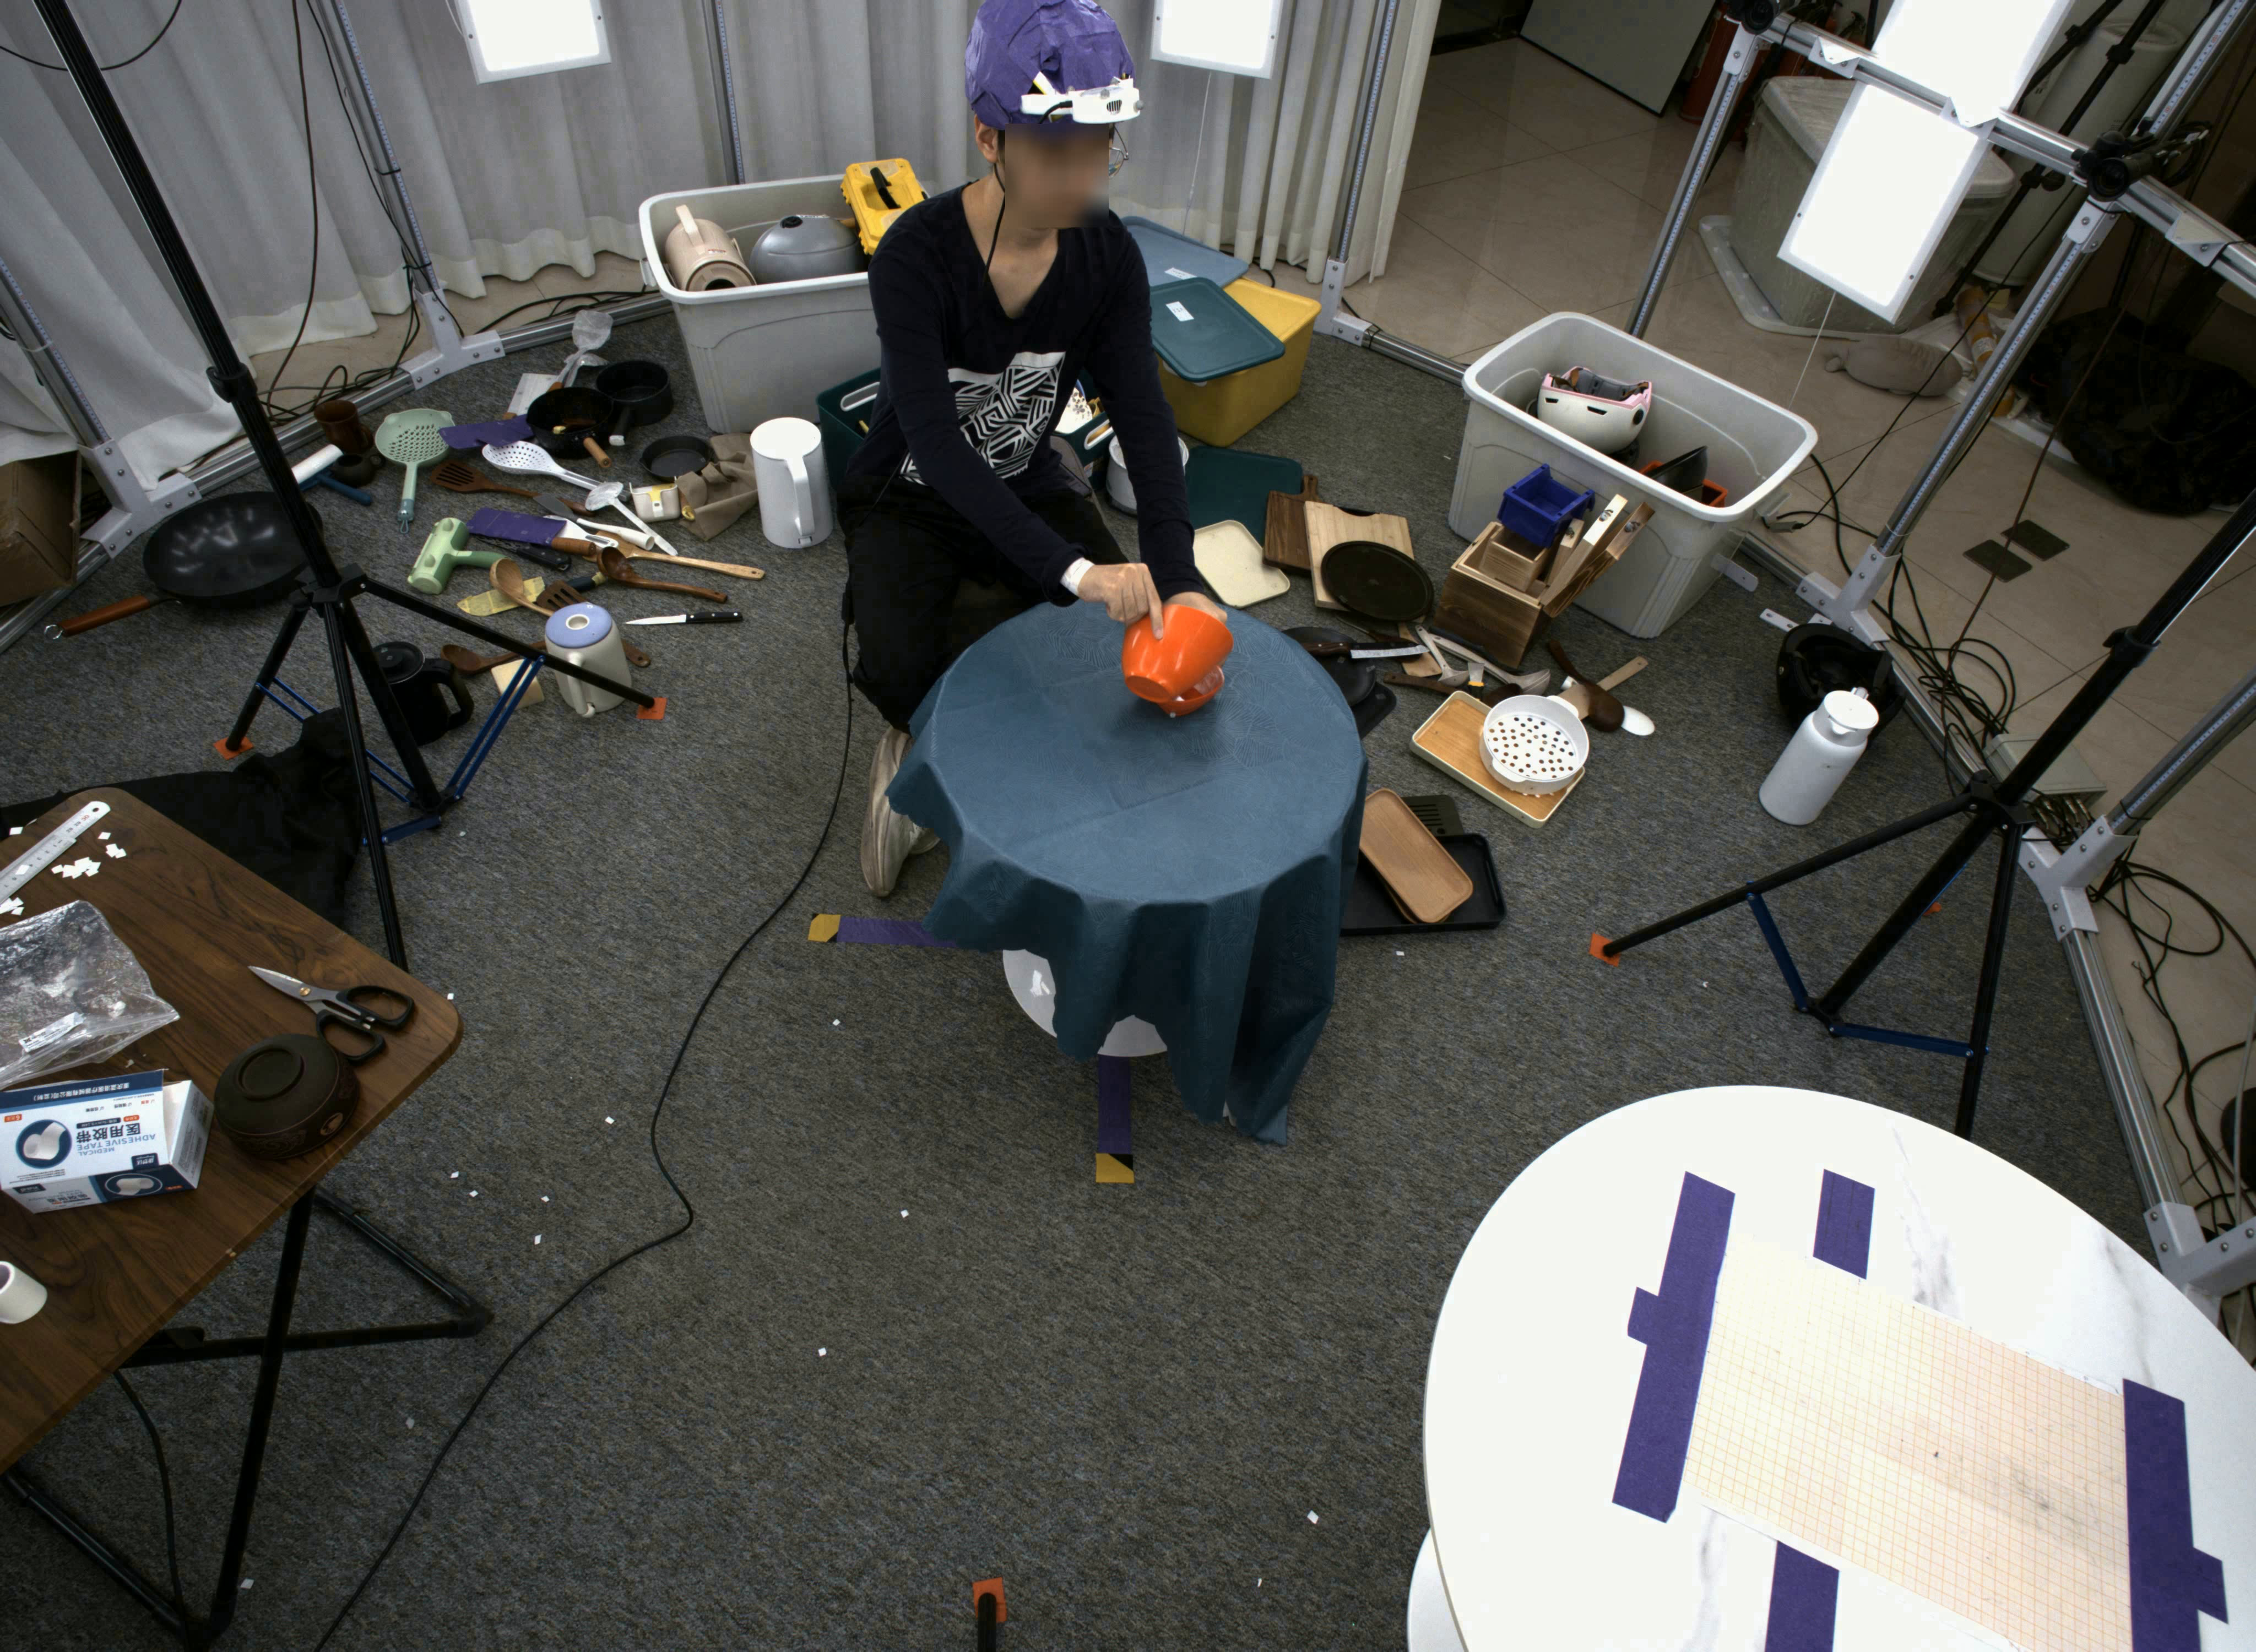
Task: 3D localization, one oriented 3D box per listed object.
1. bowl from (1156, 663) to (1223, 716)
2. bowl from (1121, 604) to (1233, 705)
[{"bbox_3d":[0.073,-0.200,1.815,0.119,0.050,0.122,0,49,-1],"label":"bowl"},{"bbox_3d":[0.054,-0.222,1.726,0.148,0.145,0.106,18,69,11],"label":"bowl"}]
